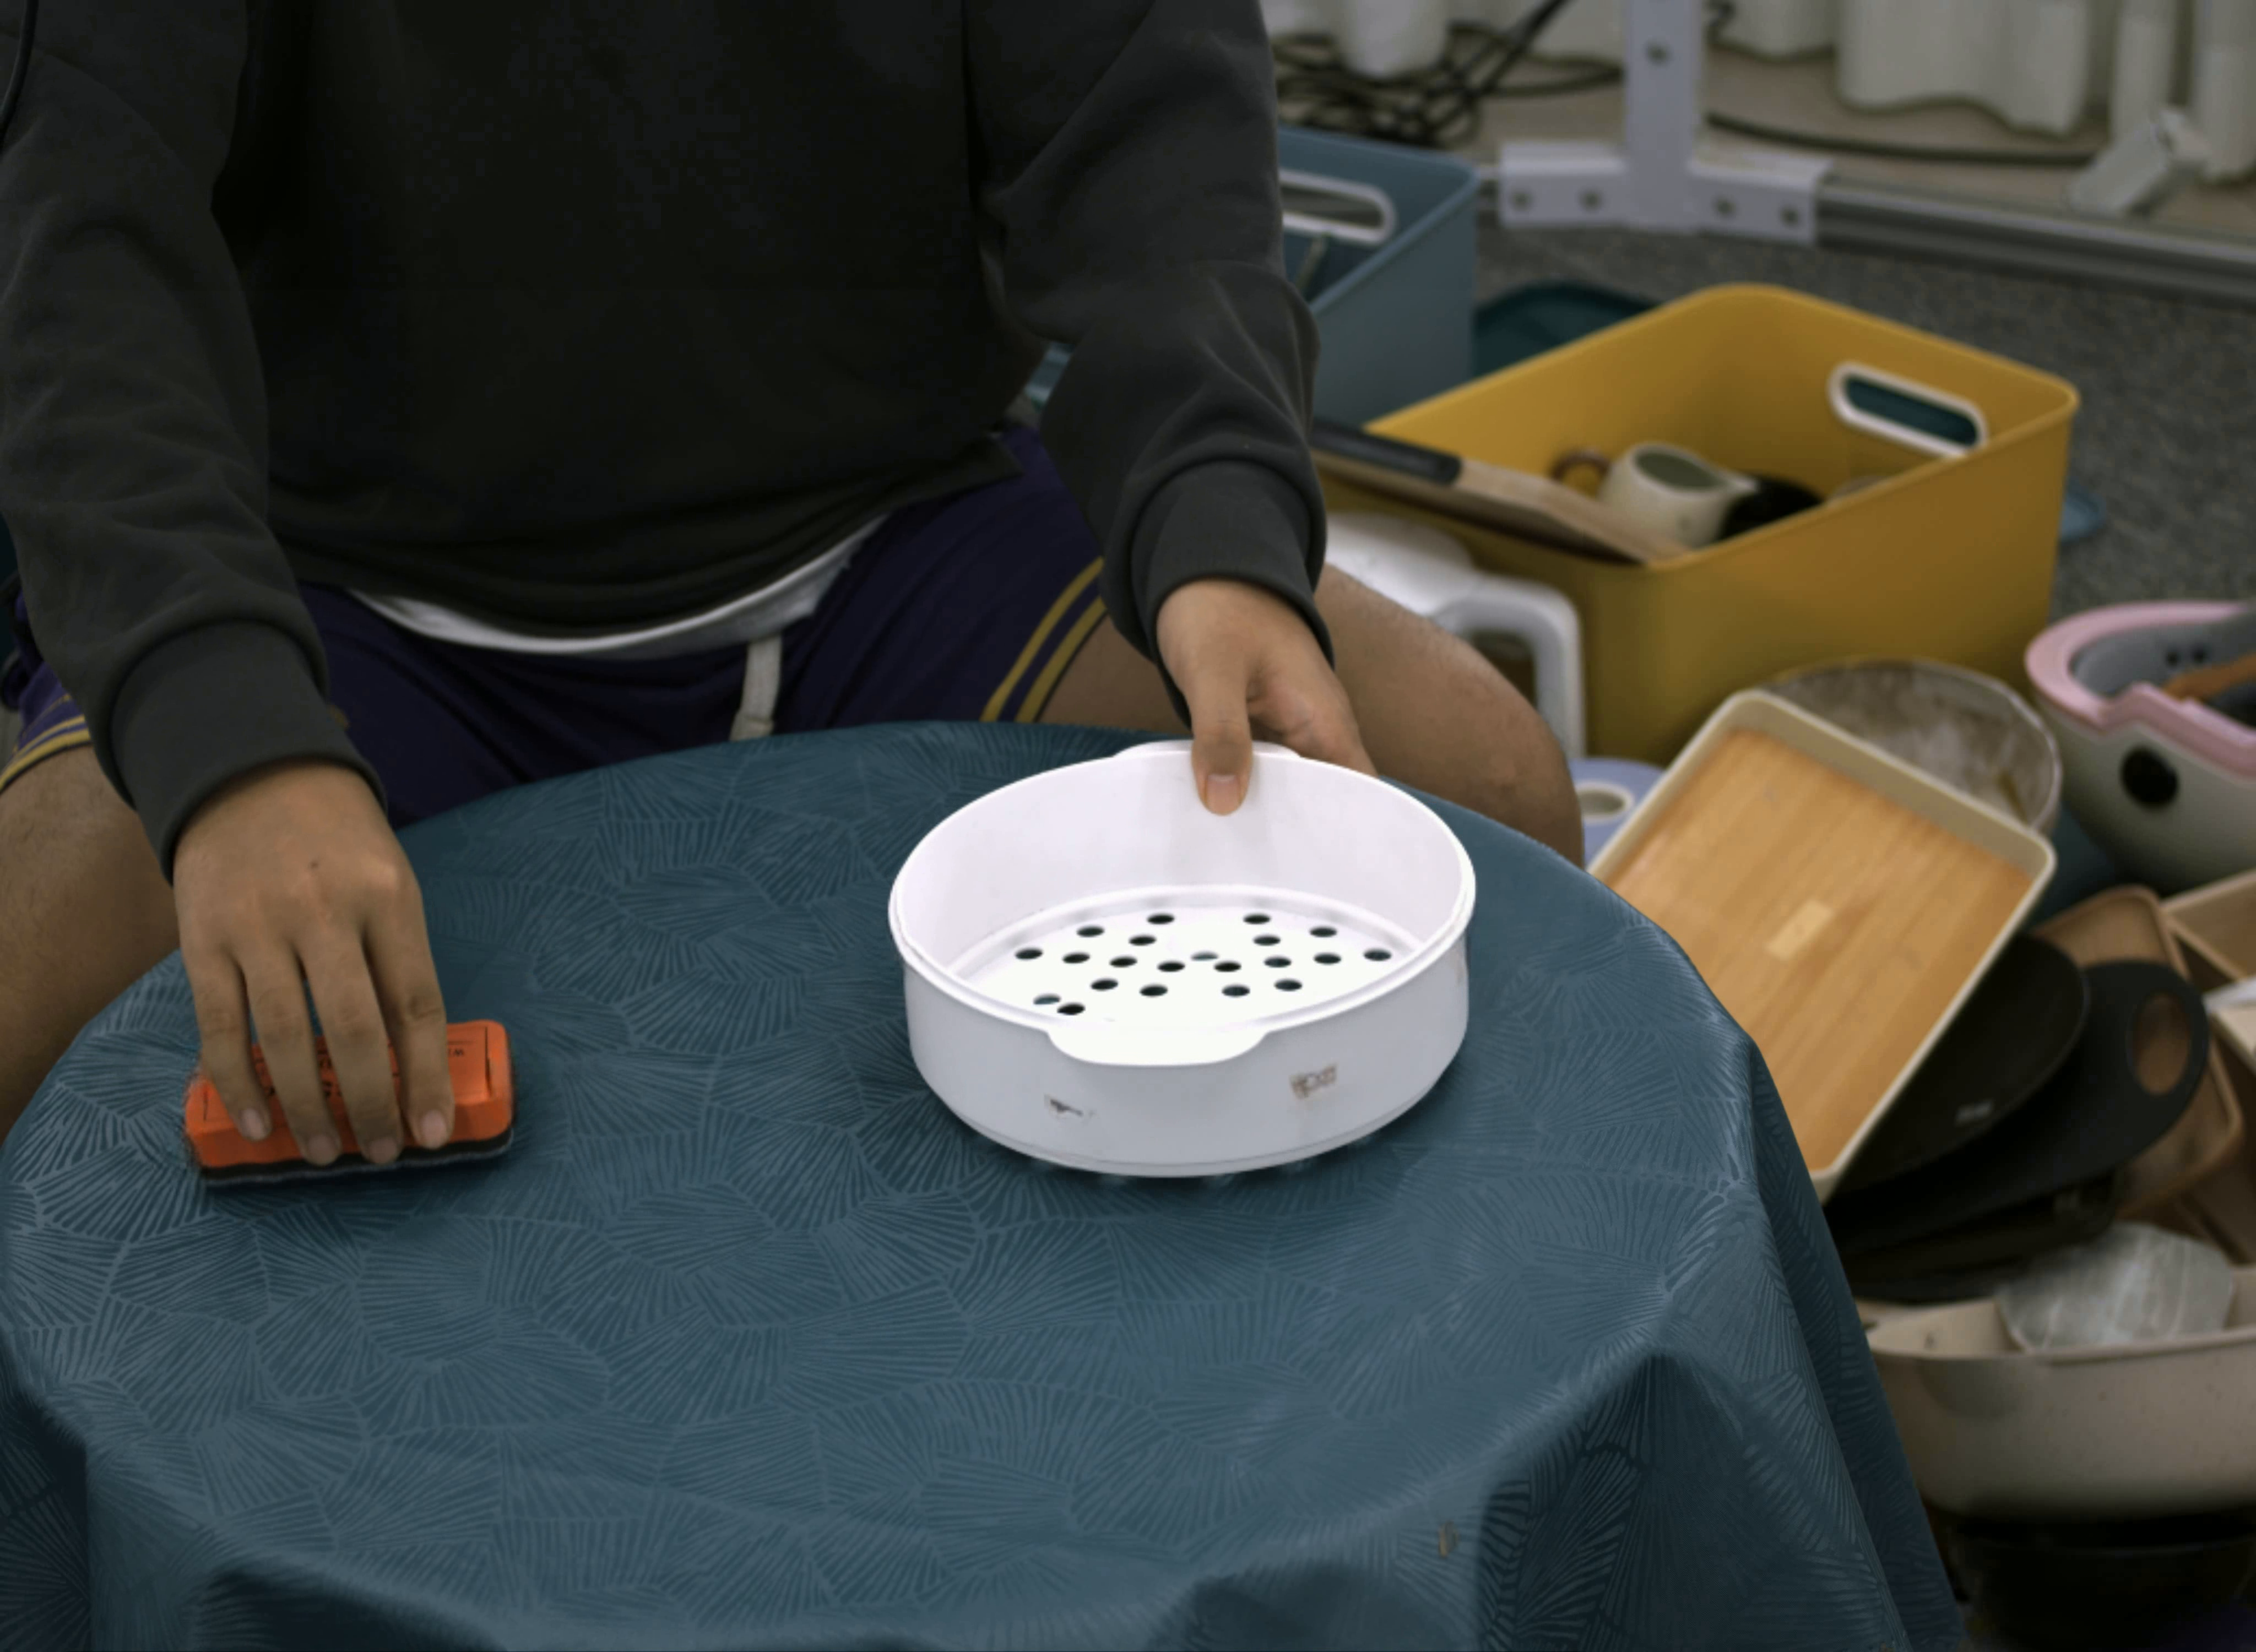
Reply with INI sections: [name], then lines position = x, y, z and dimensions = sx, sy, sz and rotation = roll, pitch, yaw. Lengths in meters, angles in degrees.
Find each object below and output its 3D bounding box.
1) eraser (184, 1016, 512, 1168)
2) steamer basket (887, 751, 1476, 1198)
[eraser]
position = -0.263, 0.090, 1.902
dimensions = 0.108, 0.023, 0.059
rotation = -7, 19, -4
[steamer basket]
position = 0.020, 0.052, 1.925
dimensions = 0.201, 0.068, 0.234
rotation = -1, 28, 5
